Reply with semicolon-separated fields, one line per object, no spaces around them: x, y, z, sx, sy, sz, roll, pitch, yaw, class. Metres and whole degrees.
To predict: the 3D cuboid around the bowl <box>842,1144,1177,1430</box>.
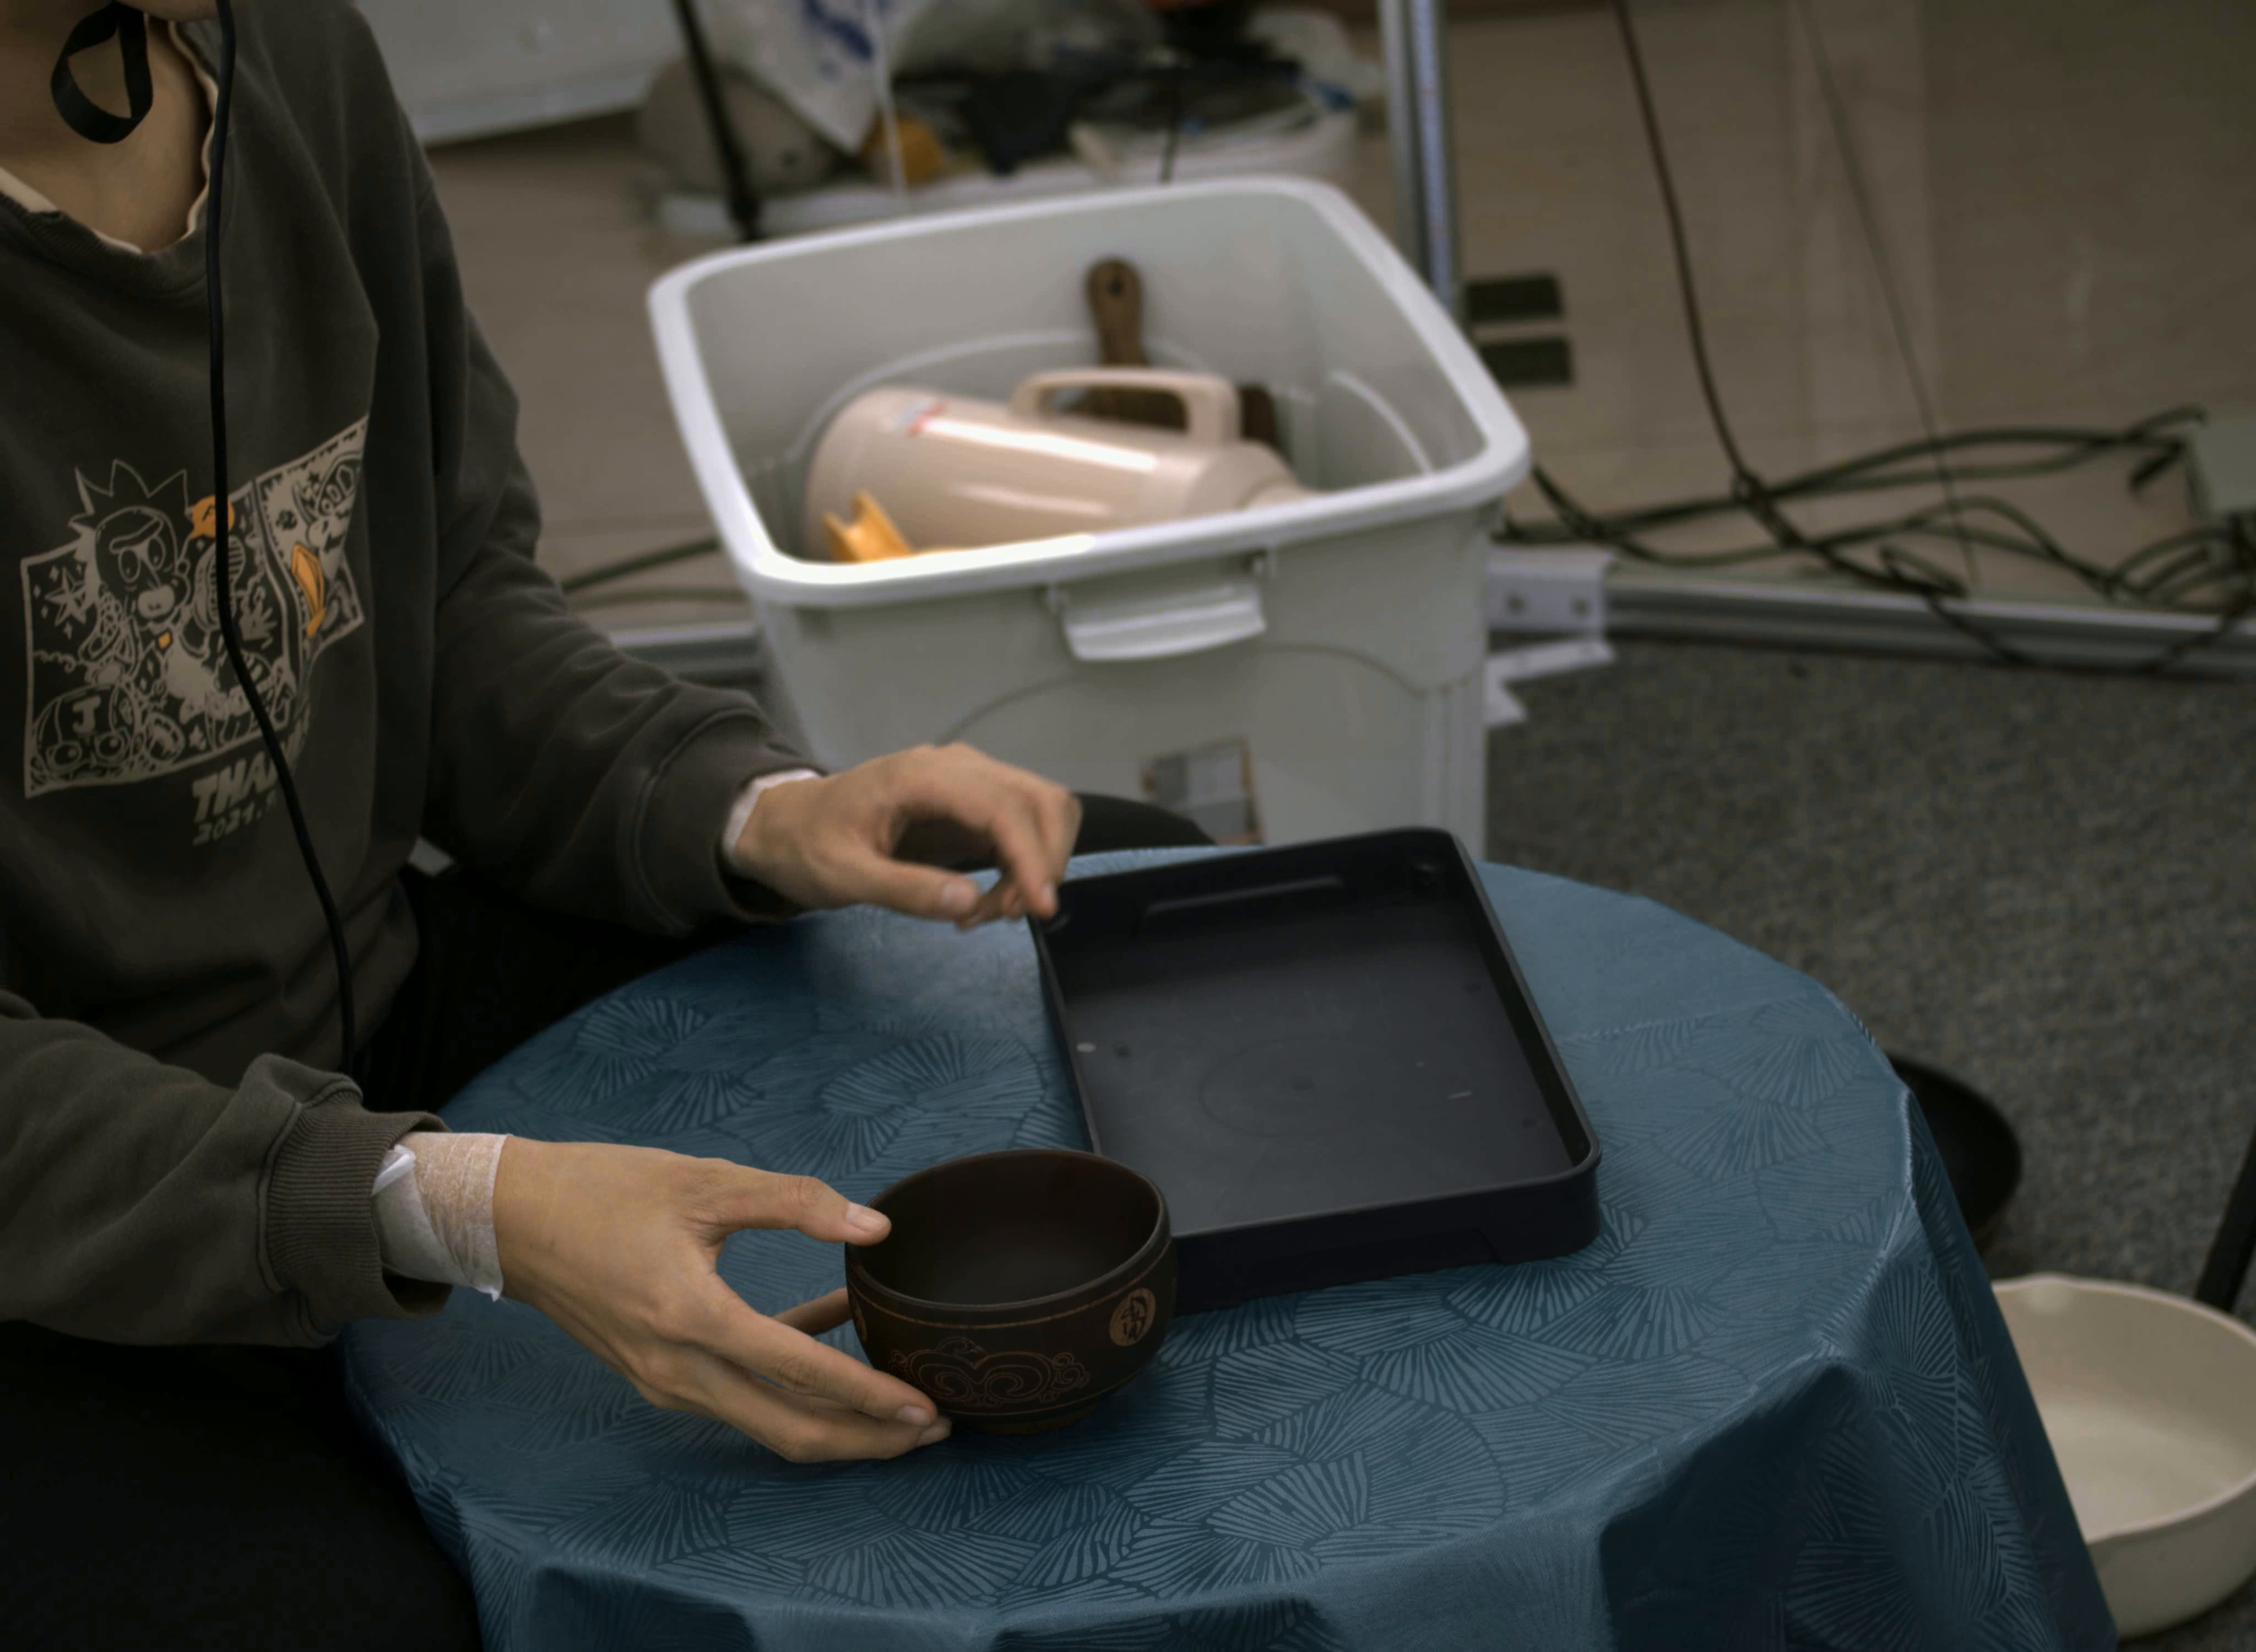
-0.039;0.169;2.005;0.118;0.071;0.116;-7;25;3;bowl

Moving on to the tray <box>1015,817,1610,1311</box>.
0.067;0.087;2.199;0.184;0.037;0.313;-10;25;-5;tray
